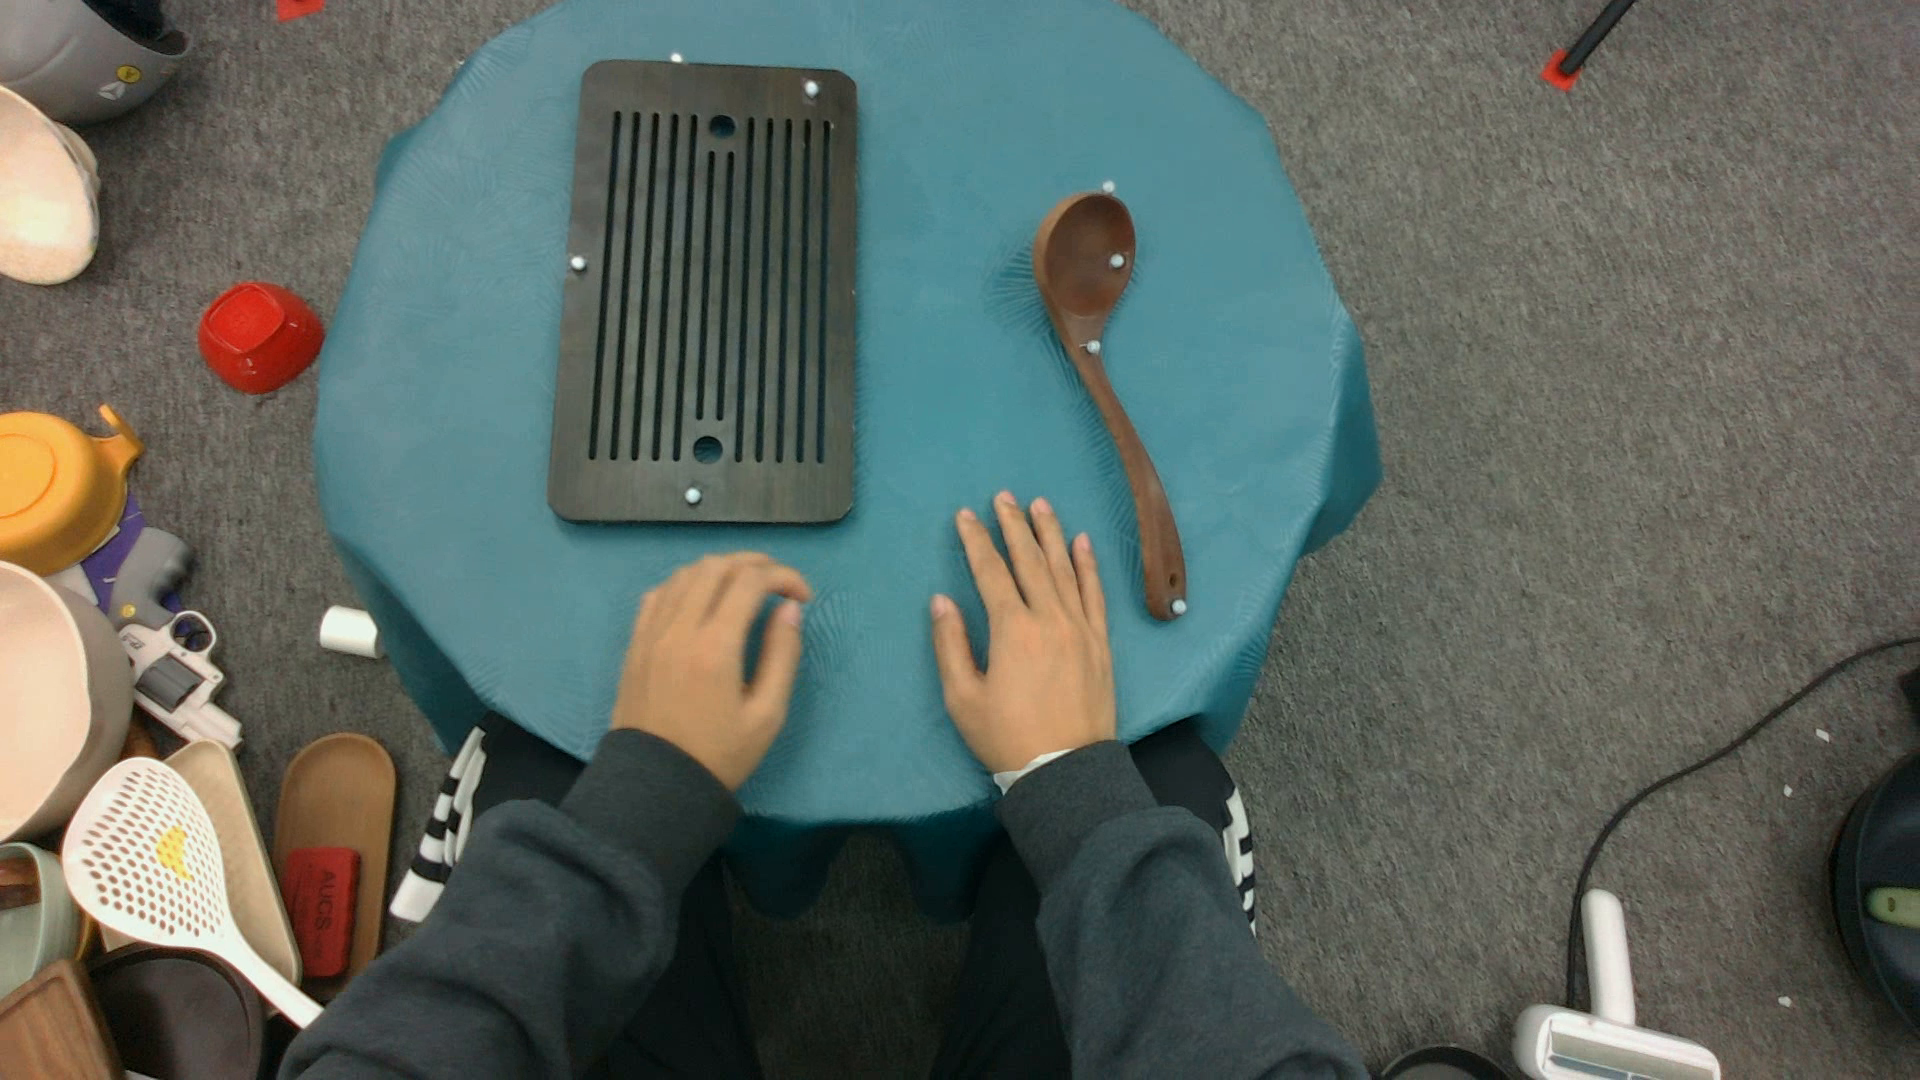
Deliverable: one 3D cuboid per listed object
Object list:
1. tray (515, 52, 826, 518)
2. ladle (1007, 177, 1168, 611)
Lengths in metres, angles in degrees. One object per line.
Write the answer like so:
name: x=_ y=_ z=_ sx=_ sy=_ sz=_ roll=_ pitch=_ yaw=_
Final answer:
tray: x=-0.166 y=-0.156 z=0.818 sx=0.170 sy=0.018 sz=0.307 roll=0 pitch=71 yaw=-6
ladle: x=0.086 y=-0.089 z=0.798 sx=0.077 sy=0.065 sz=0.261 roll=-3 pitch=68 yaw=-35
